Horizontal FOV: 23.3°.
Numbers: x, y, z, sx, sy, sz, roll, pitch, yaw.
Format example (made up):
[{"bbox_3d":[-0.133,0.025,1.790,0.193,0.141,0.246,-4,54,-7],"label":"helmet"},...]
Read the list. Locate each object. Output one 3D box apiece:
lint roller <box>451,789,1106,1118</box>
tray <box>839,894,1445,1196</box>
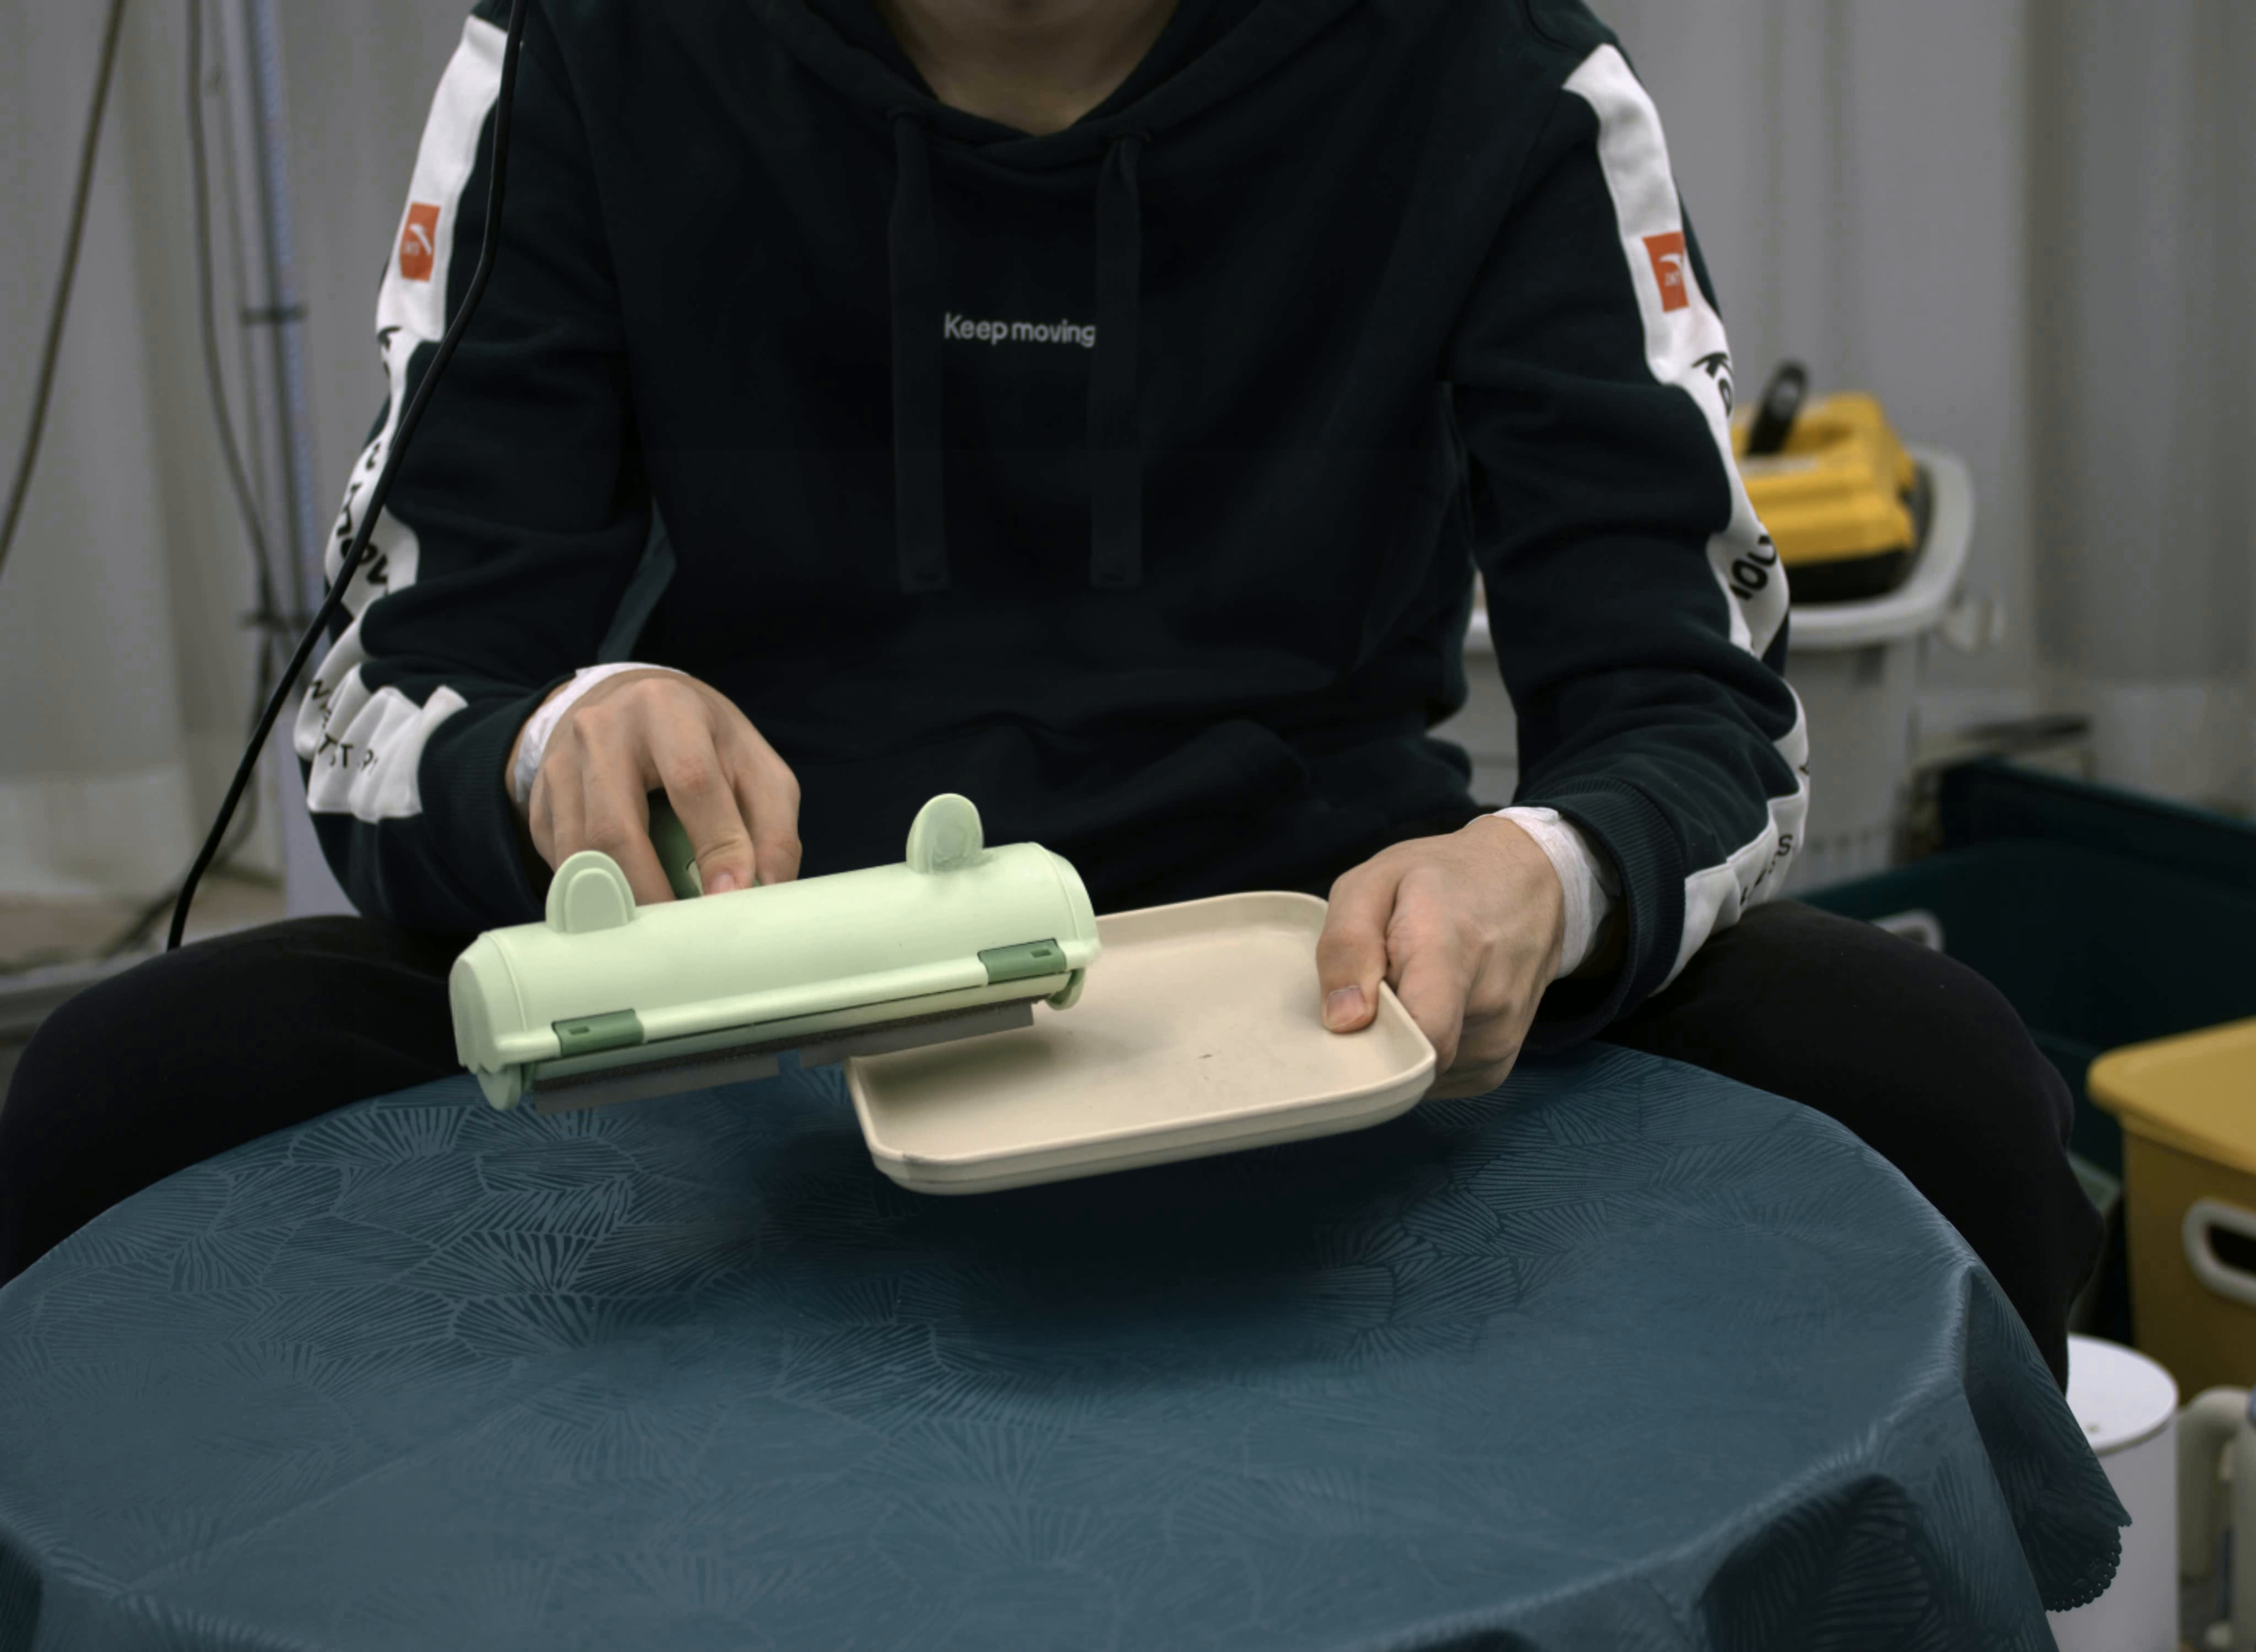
[{"bbox_3d":[-0.128,0.013,1.711,0.198,0.081,0.186,-10,33,-20],"label":"lint roller"},{"bbox_3d":[-0.003,0.066,1.683,0.170,0.017,0.241,-9,14,-6],"label":"tray"}]
